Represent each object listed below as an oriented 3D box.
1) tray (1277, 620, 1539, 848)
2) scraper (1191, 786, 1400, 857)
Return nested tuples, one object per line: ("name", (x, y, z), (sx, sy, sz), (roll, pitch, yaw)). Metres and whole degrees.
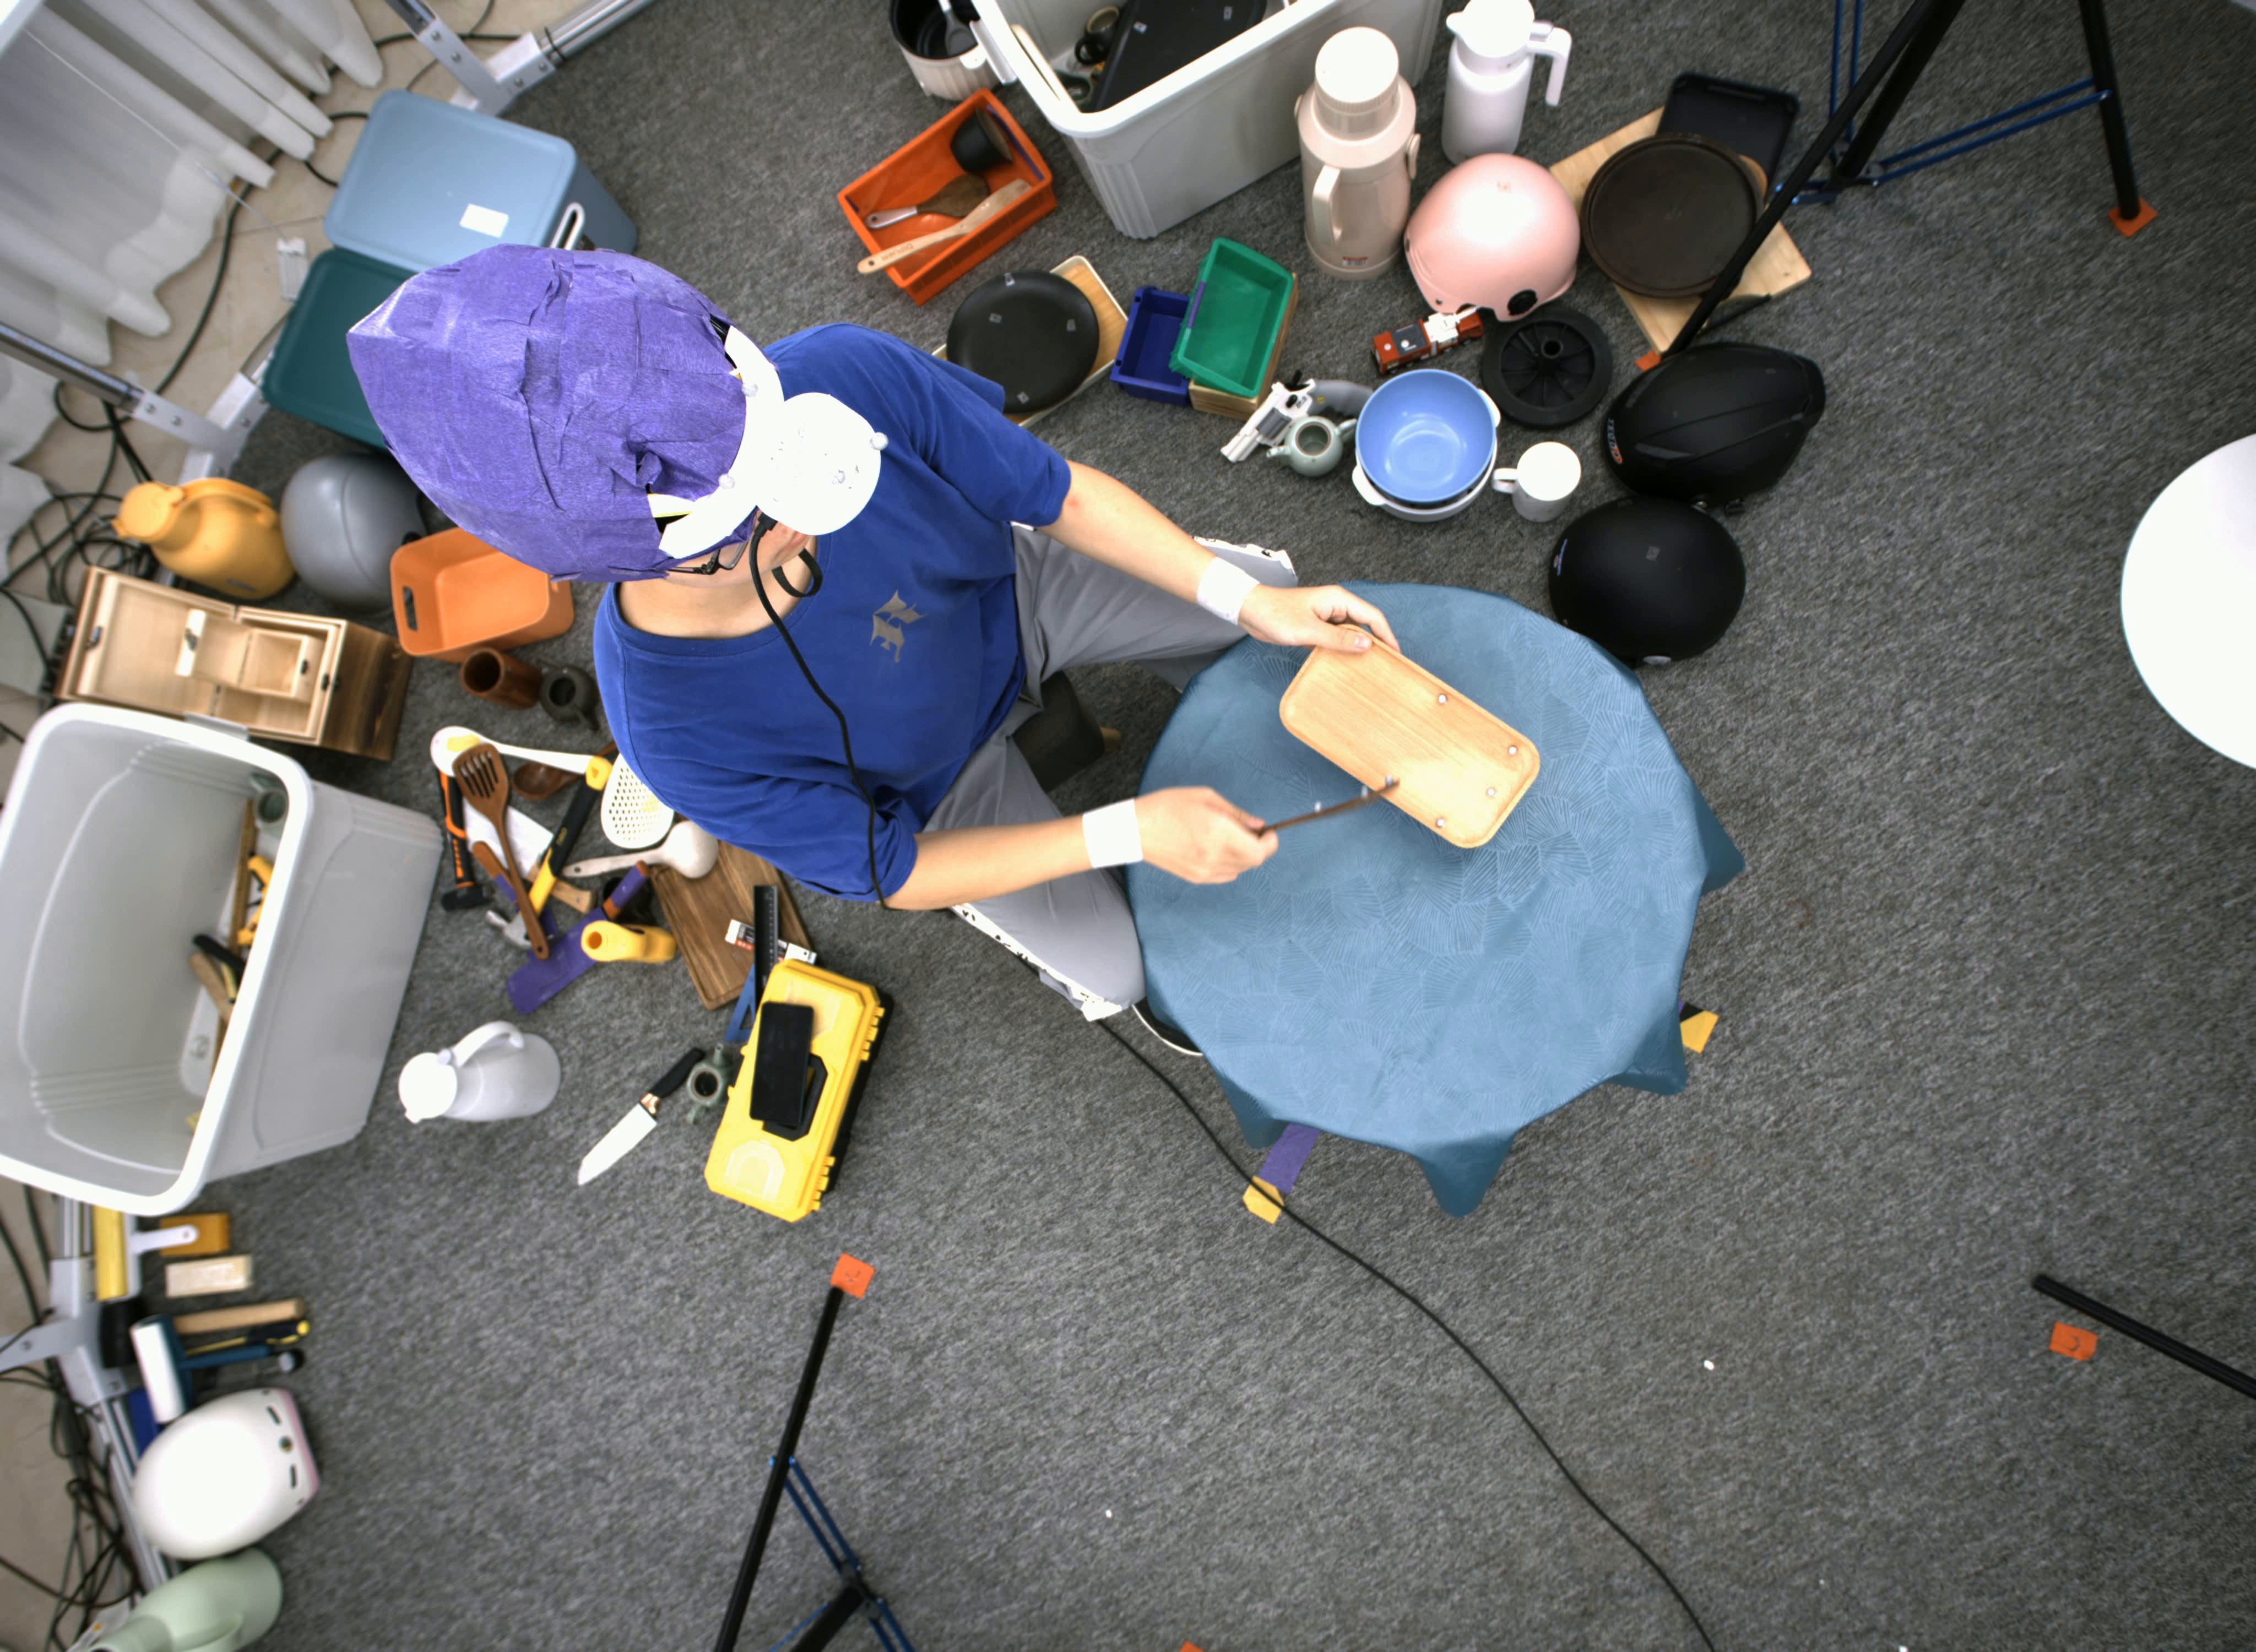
("tray", (0.275, -0.093, 1.358), (0.250, 0.022, 0.132), (36, 109, 7))
("scraper", (0.161, -0.002, 1.334), (0.213, 0.074, 0.011), (-16, 98, 18))
